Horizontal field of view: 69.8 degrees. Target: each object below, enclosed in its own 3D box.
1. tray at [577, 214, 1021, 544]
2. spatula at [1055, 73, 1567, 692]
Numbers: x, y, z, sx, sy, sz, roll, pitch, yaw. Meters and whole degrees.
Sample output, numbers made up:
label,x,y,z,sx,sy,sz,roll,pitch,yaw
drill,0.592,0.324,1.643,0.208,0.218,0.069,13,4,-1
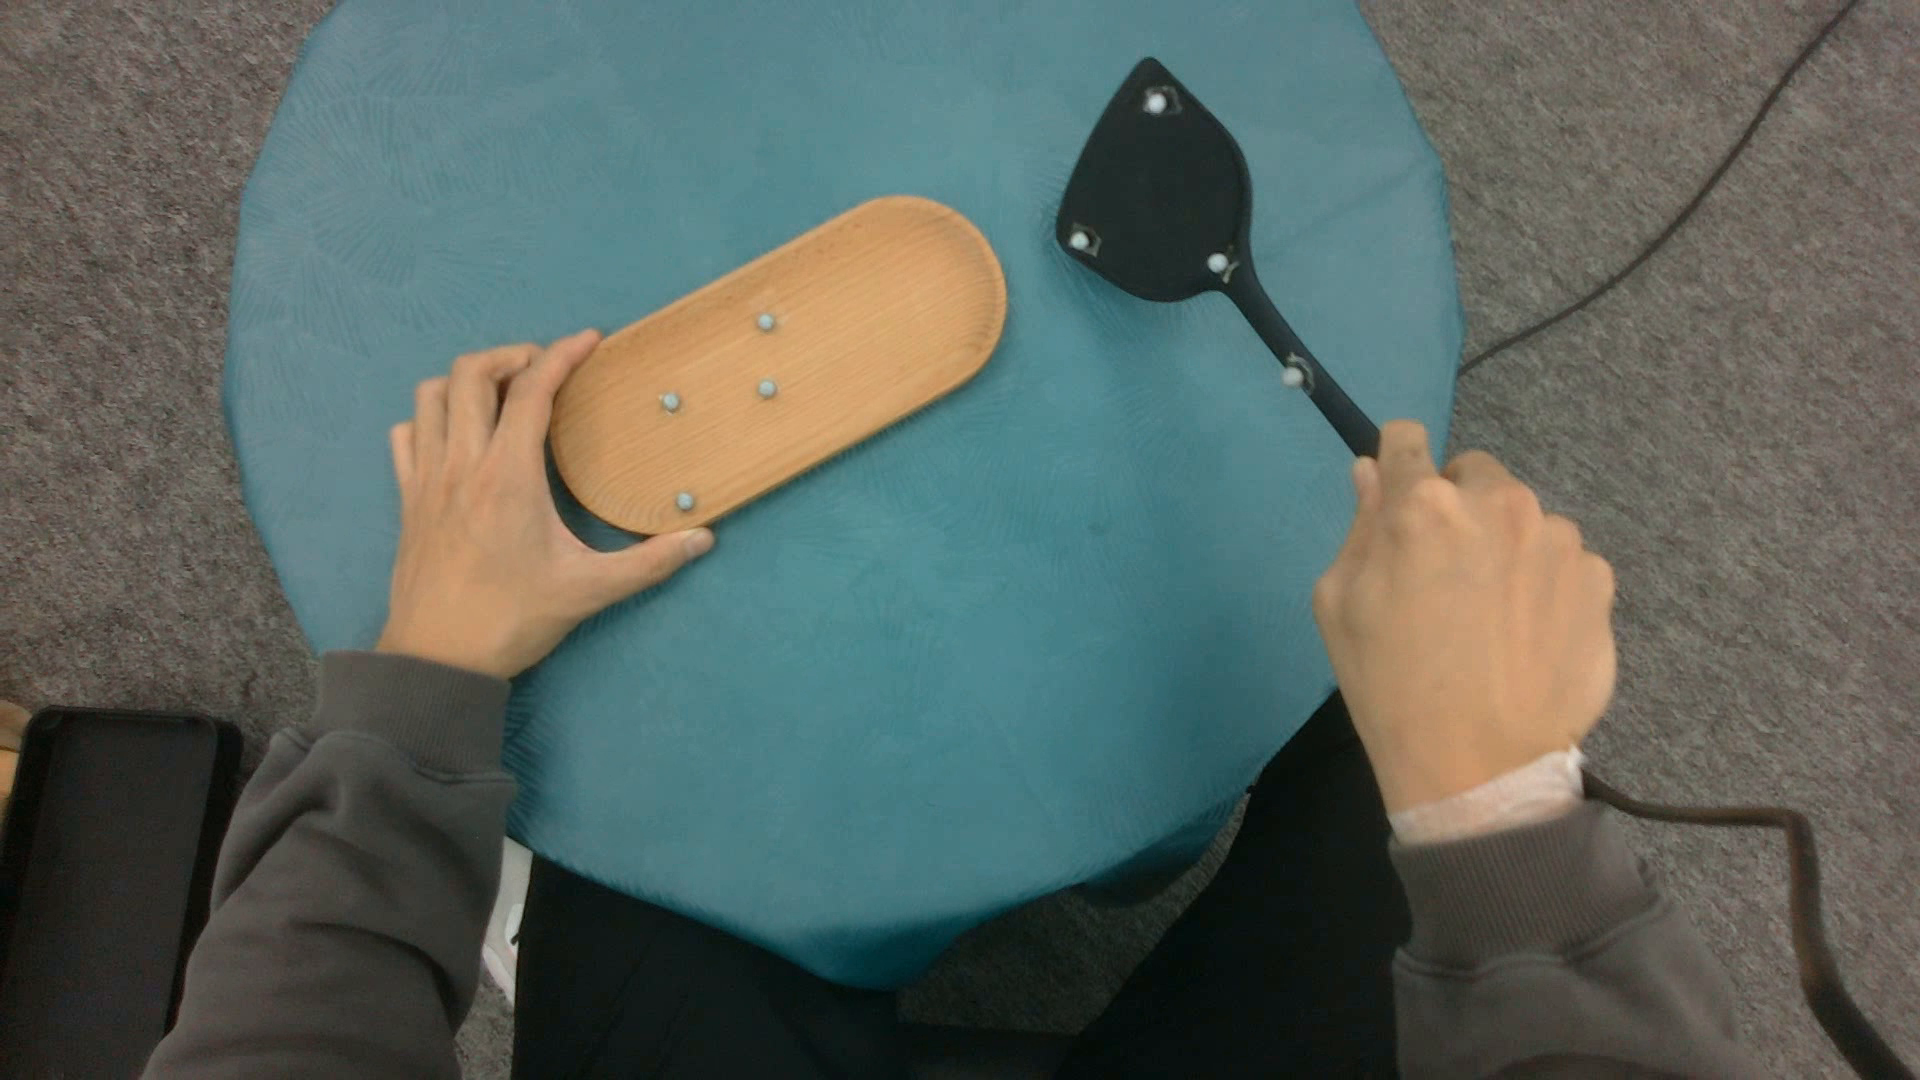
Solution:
label,x,y,z,sx,sy,sz,roll,pitch,yaw
tray,-0.077,-0.079,0.675,0.231,0.020,0.102,-29,82,-7
spatula,0.137,-0.066,0.570,0.040,0.099,0.327,-2,48,-32
